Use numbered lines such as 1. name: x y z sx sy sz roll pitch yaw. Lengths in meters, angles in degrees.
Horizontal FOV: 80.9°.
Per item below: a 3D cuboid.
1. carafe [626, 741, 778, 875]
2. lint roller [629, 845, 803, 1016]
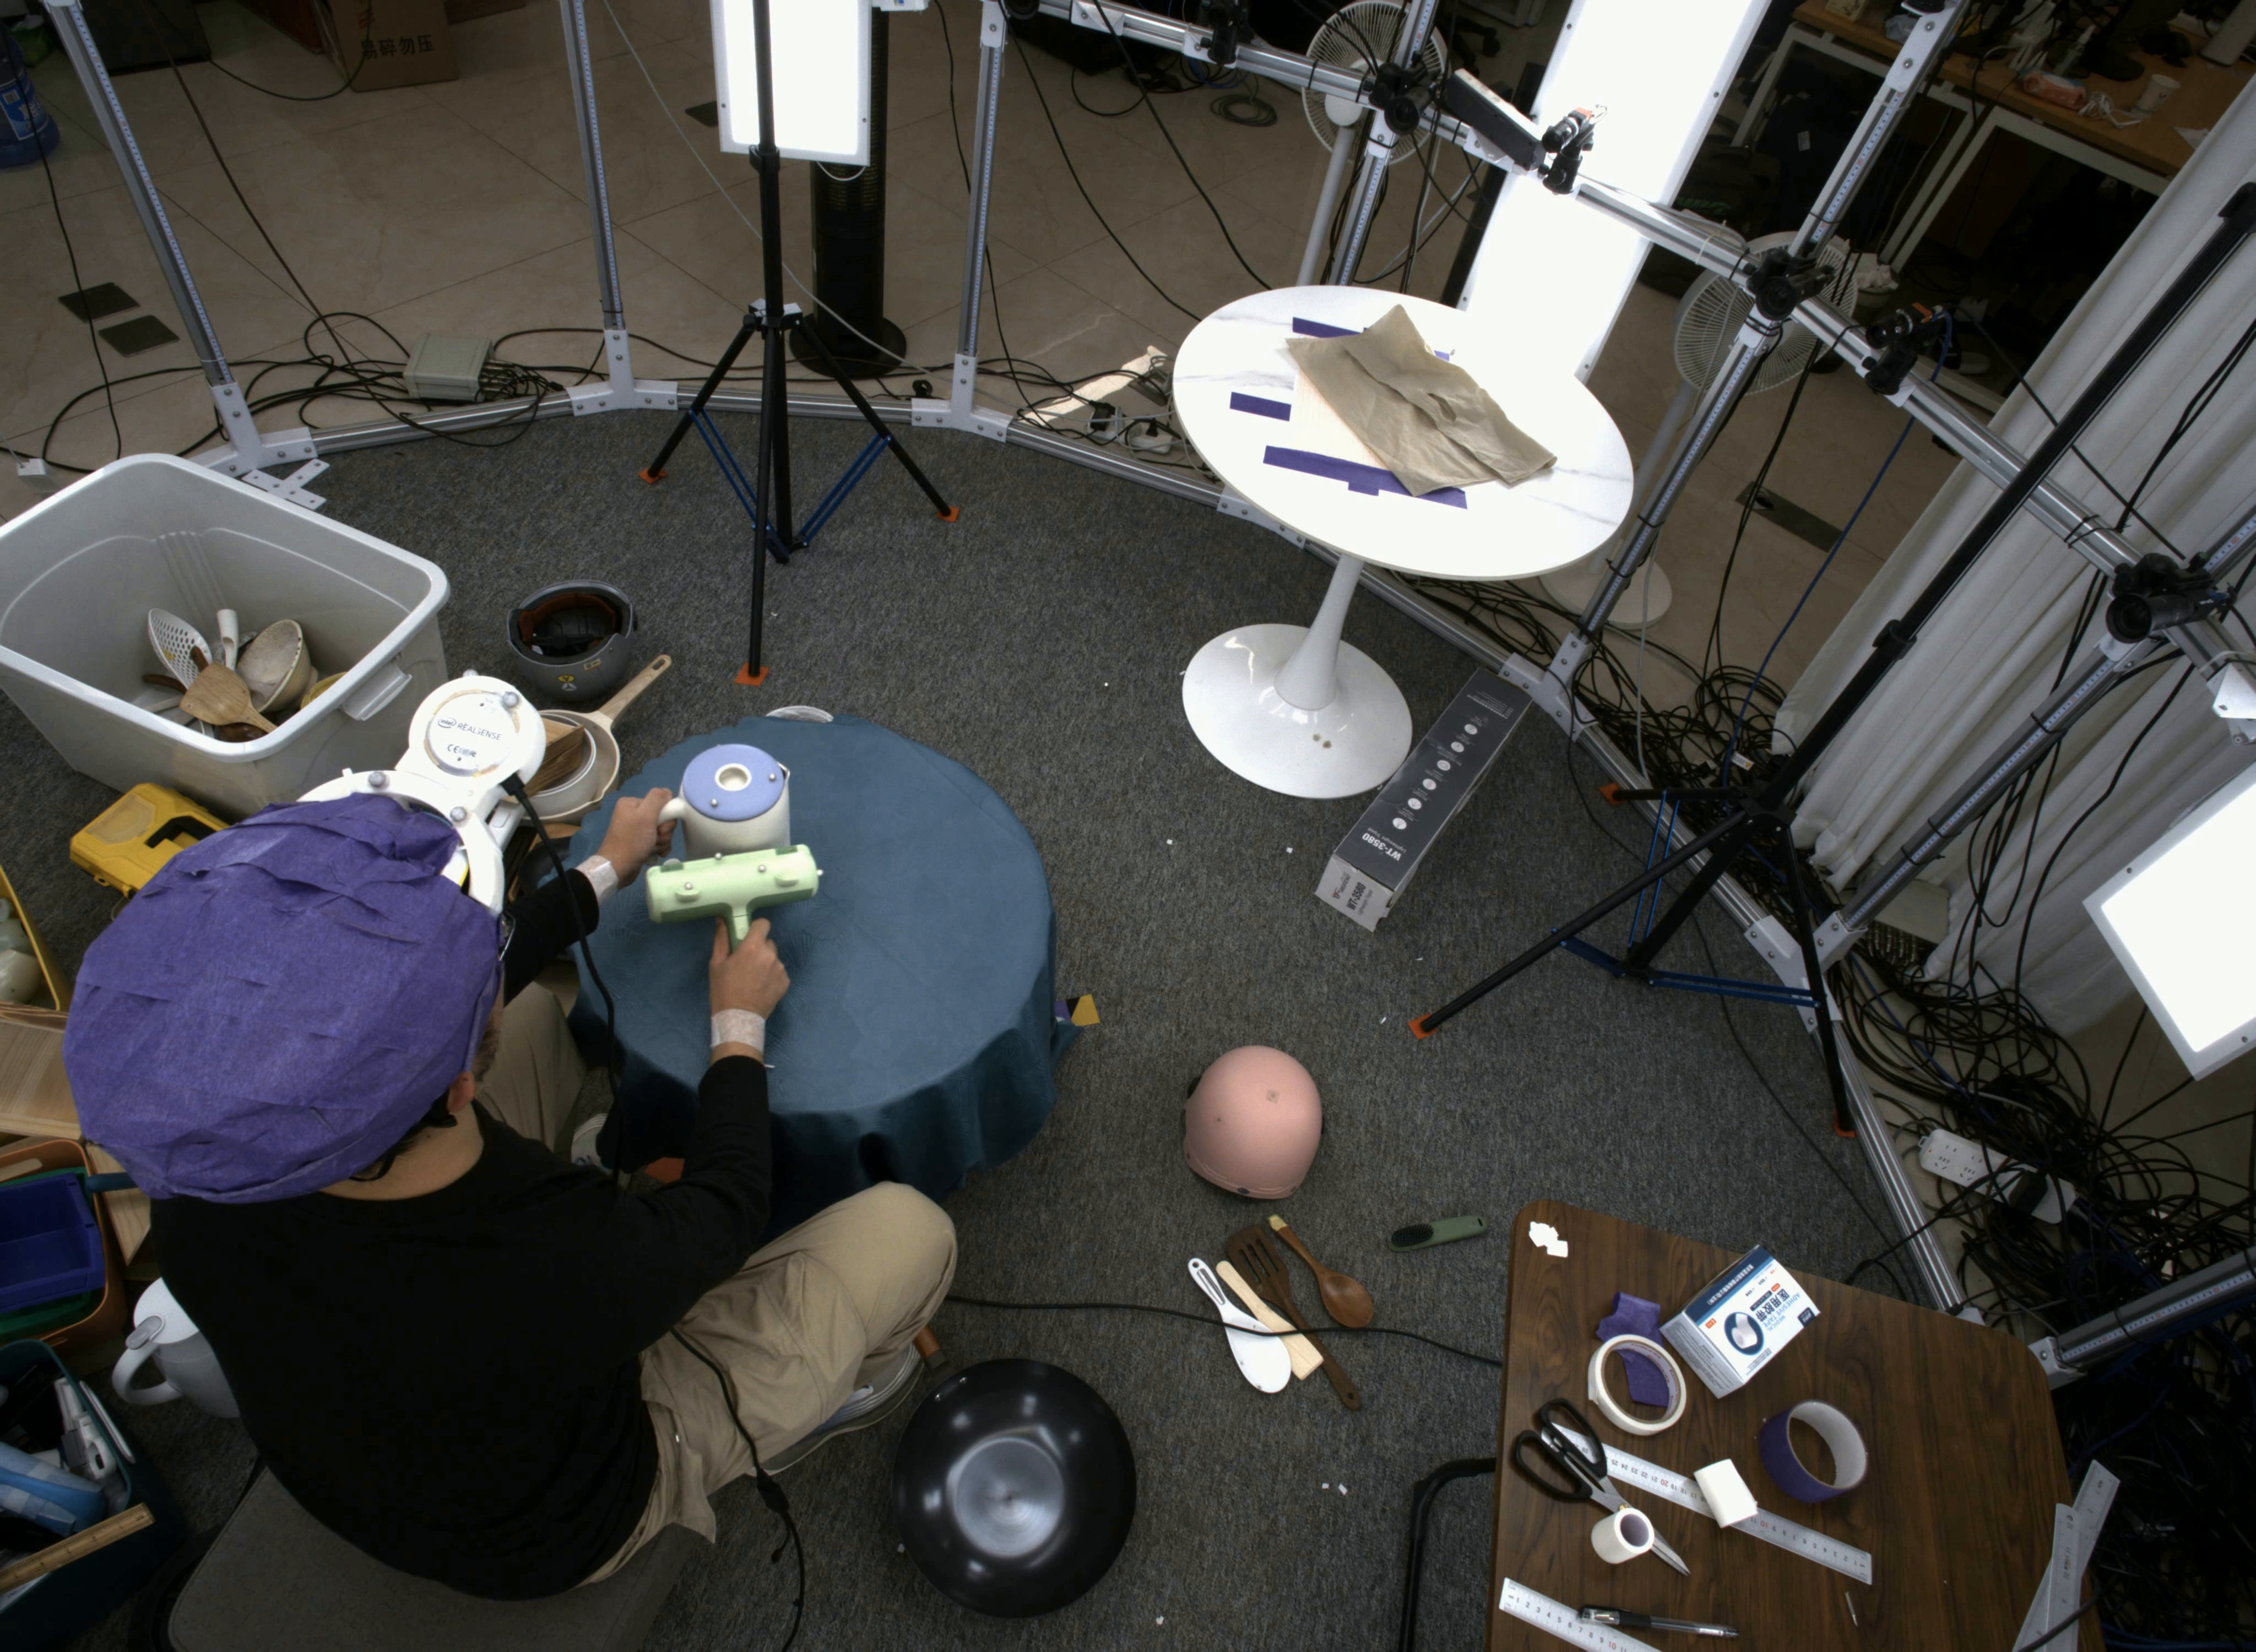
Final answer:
1. carafe: -0.522 0.004 1.577 0.192 0.187 0.128 -20 58 -25
2. lint roller: -0.466 0.122 1.504 0.200 0.081 0.183 -11 80 -30
